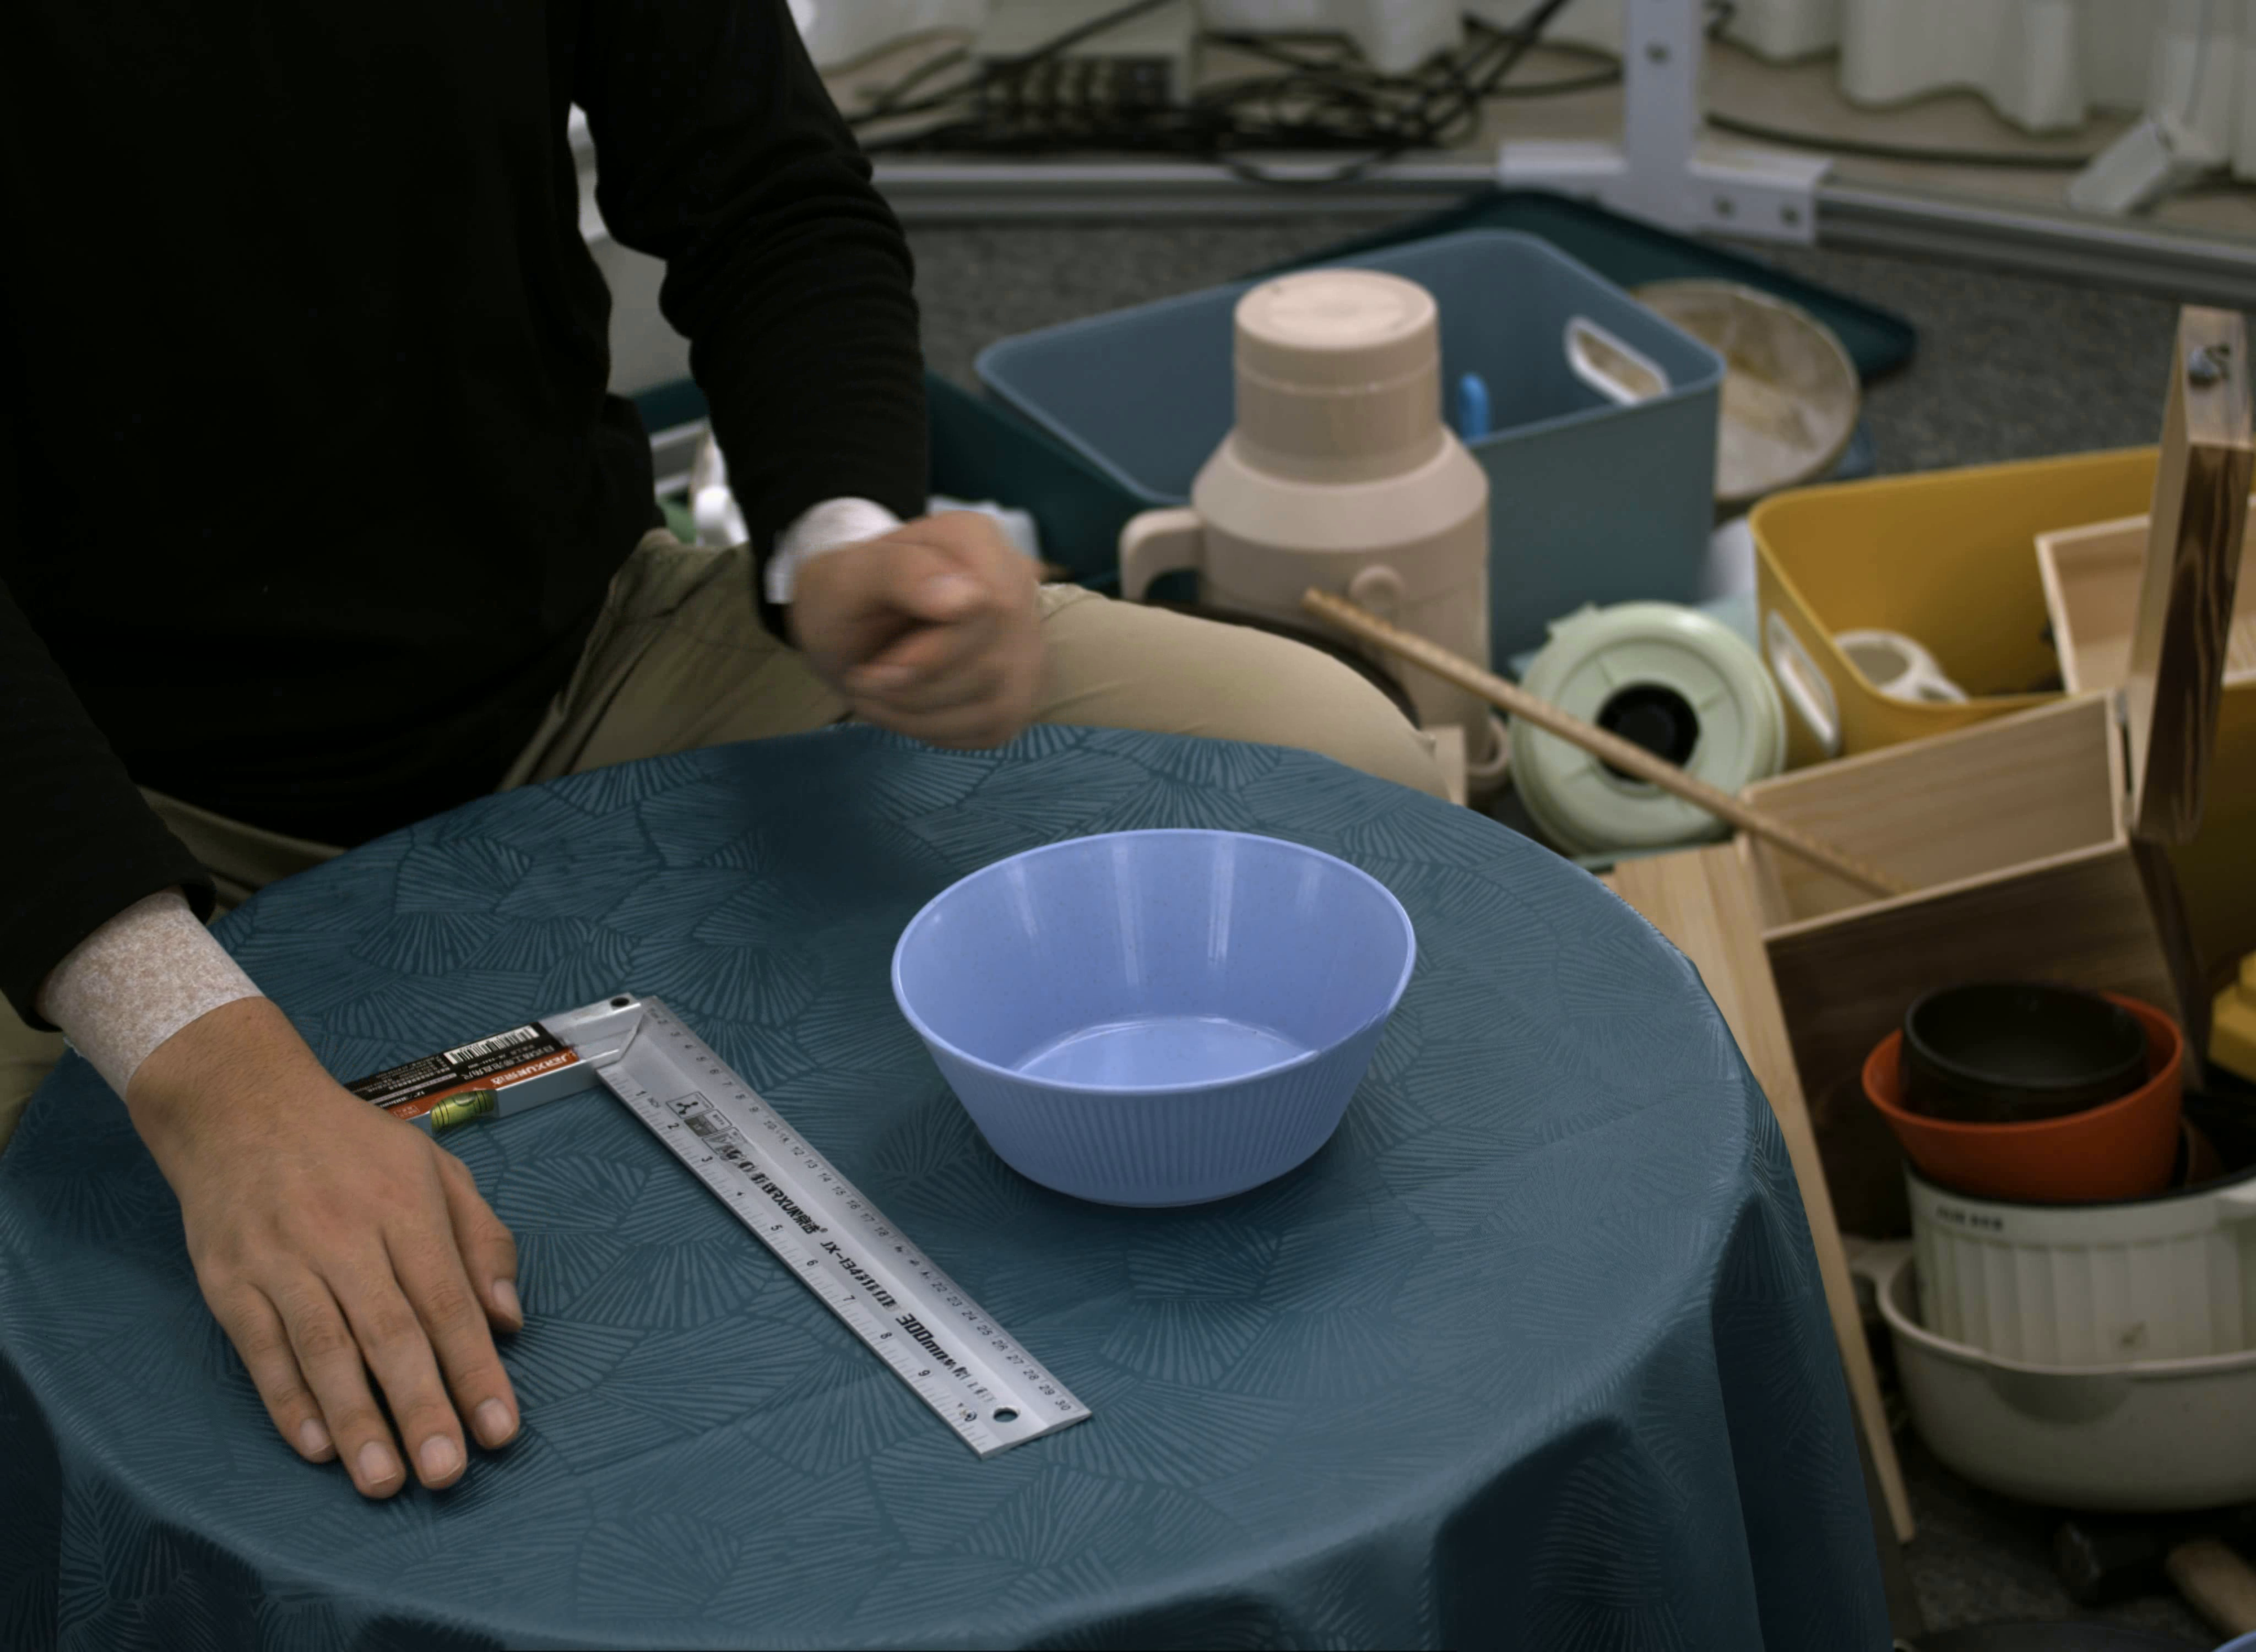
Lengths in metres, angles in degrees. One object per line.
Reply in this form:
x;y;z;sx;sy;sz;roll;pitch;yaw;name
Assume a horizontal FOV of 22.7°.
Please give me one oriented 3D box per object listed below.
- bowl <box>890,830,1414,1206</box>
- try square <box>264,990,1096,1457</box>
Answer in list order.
0.010;0.070;1.885;0.175;0.069;0.179;-2;28;2;bowl
-0.153;0.144;1.830;0.153;0.016;0.314;-20;33;-24;try square
